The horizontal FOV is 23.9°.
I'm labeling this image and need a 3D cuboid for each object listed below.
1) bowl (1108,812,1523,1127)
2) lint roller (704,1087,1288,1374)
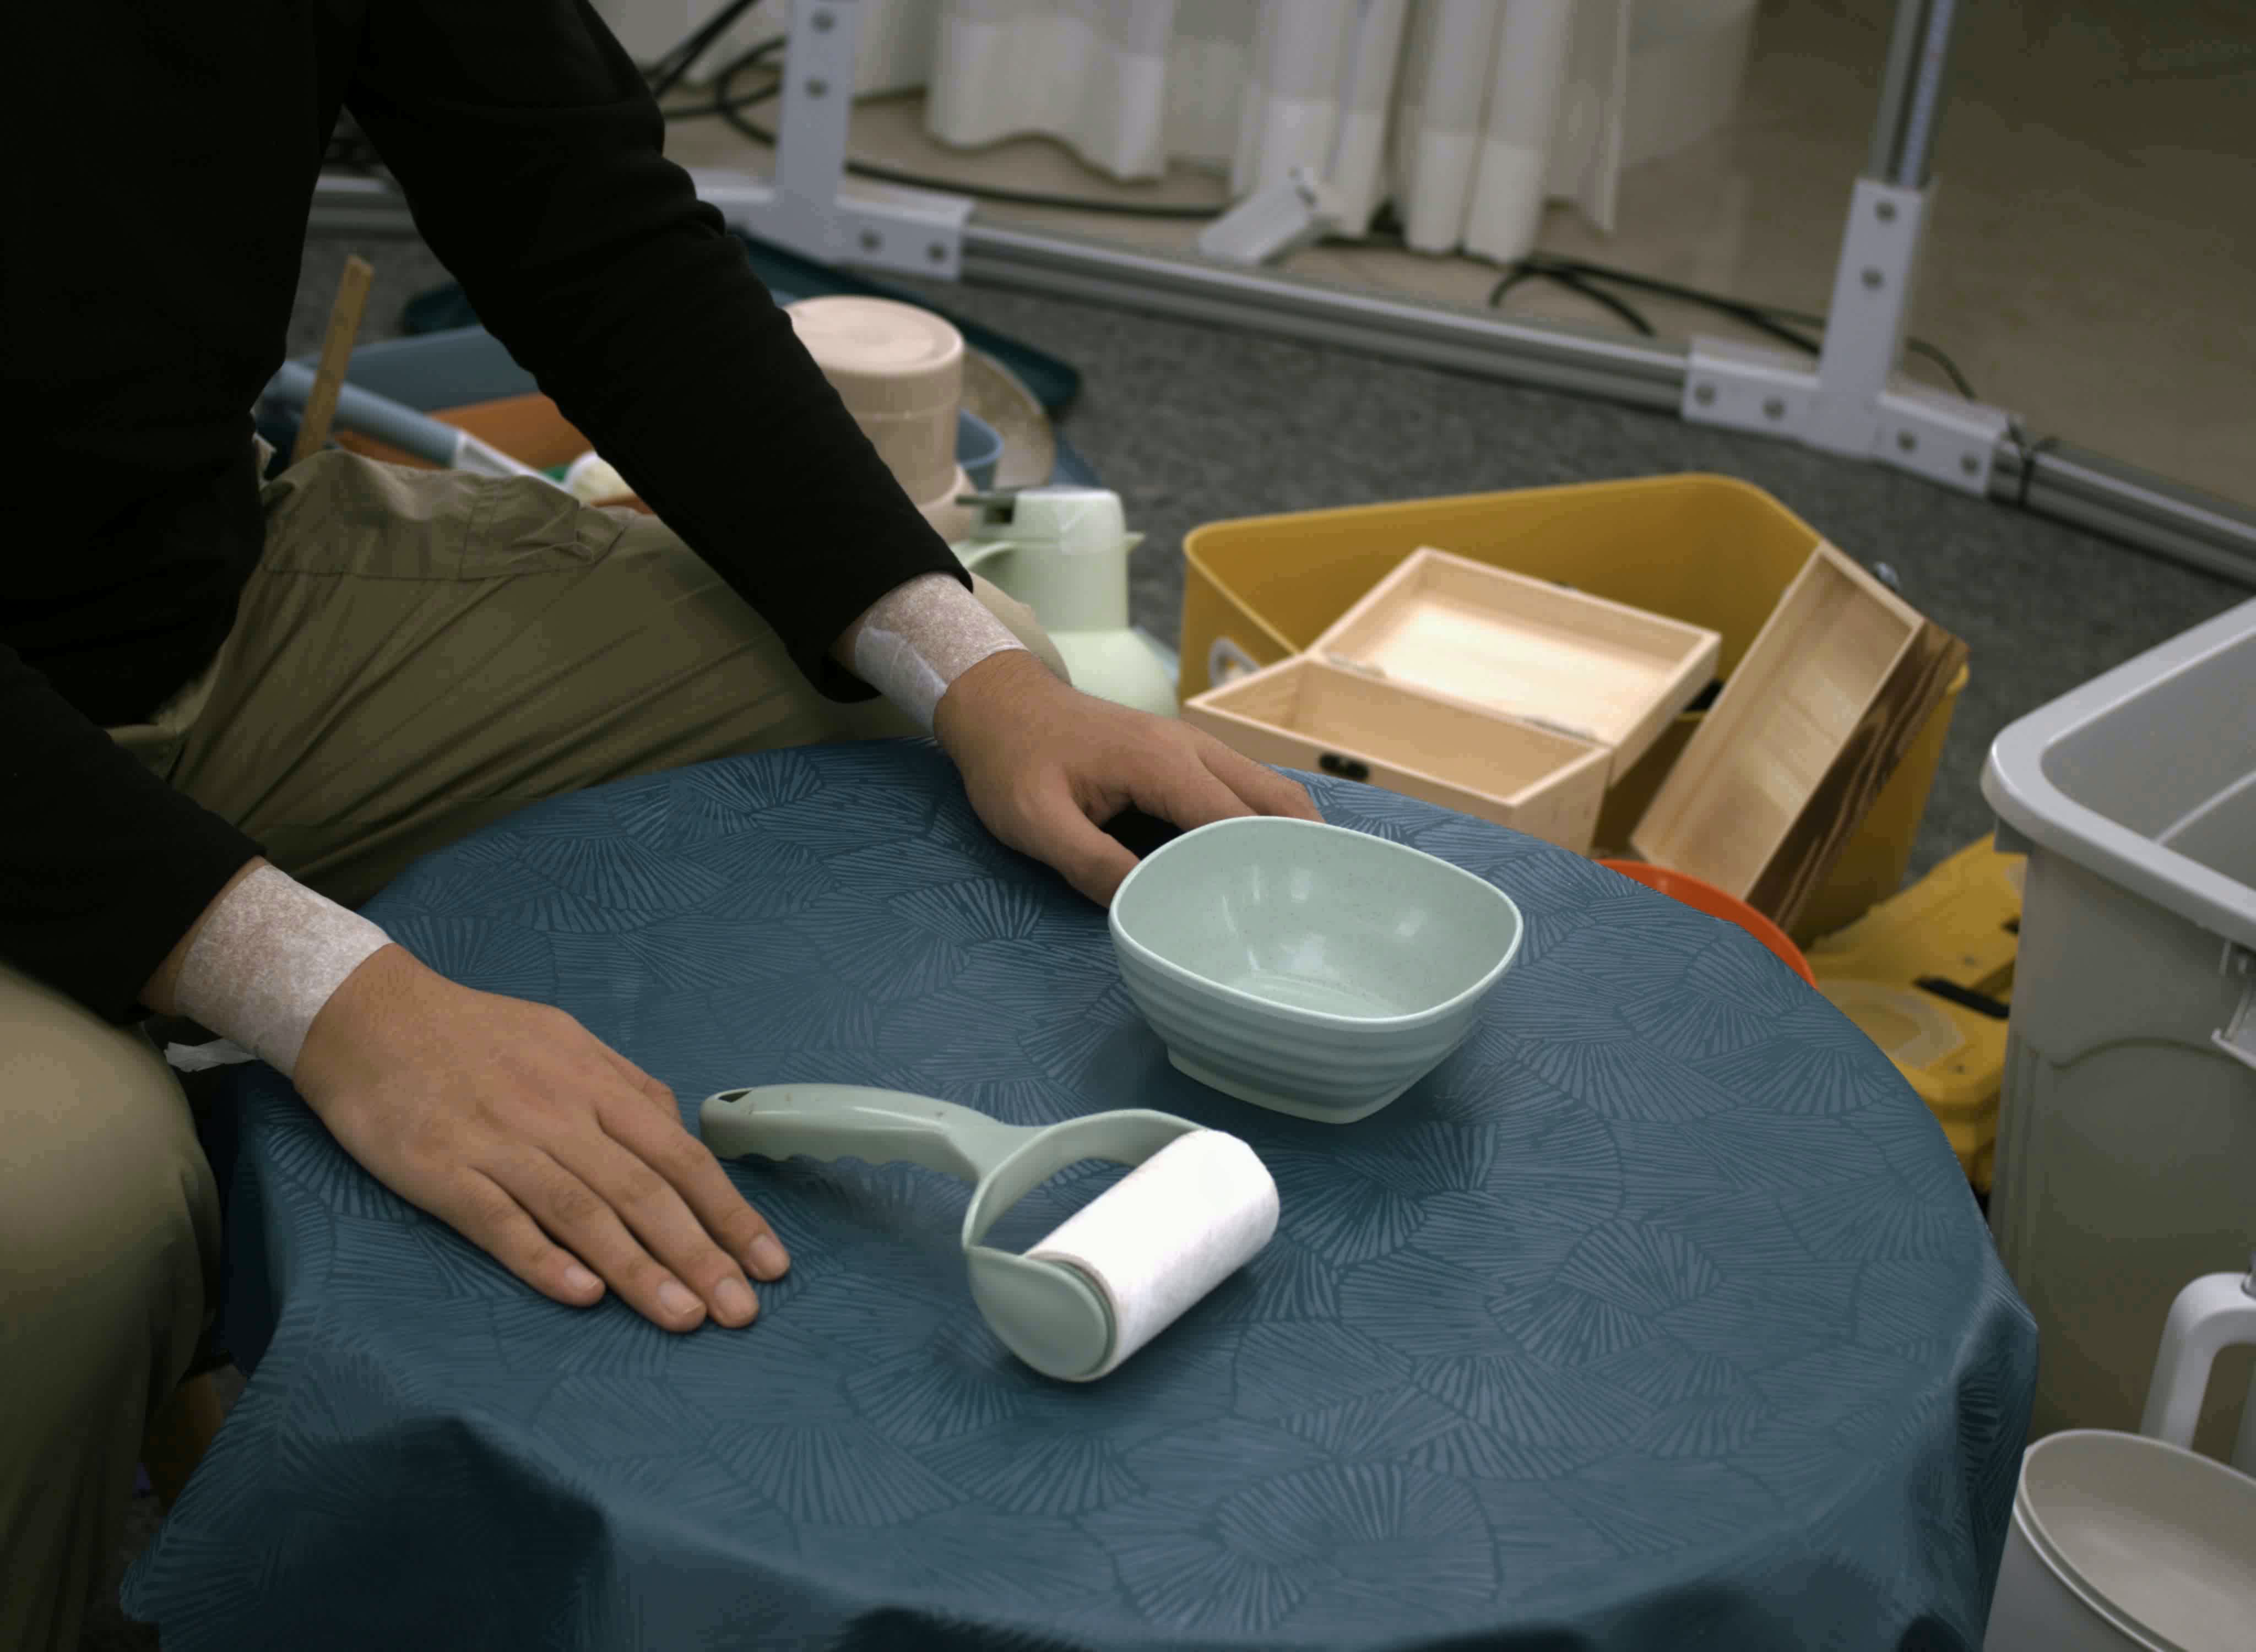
[{"bbox_3d":[0.063,0.057,1.886,0.151,0.058,0.152,6,28,-3],"label":"bowl"},{"bbox_3d":[-0.054,0.114,1.760,0.198,0.048,0.116,19,31,26],"label":"lint roller"}]
